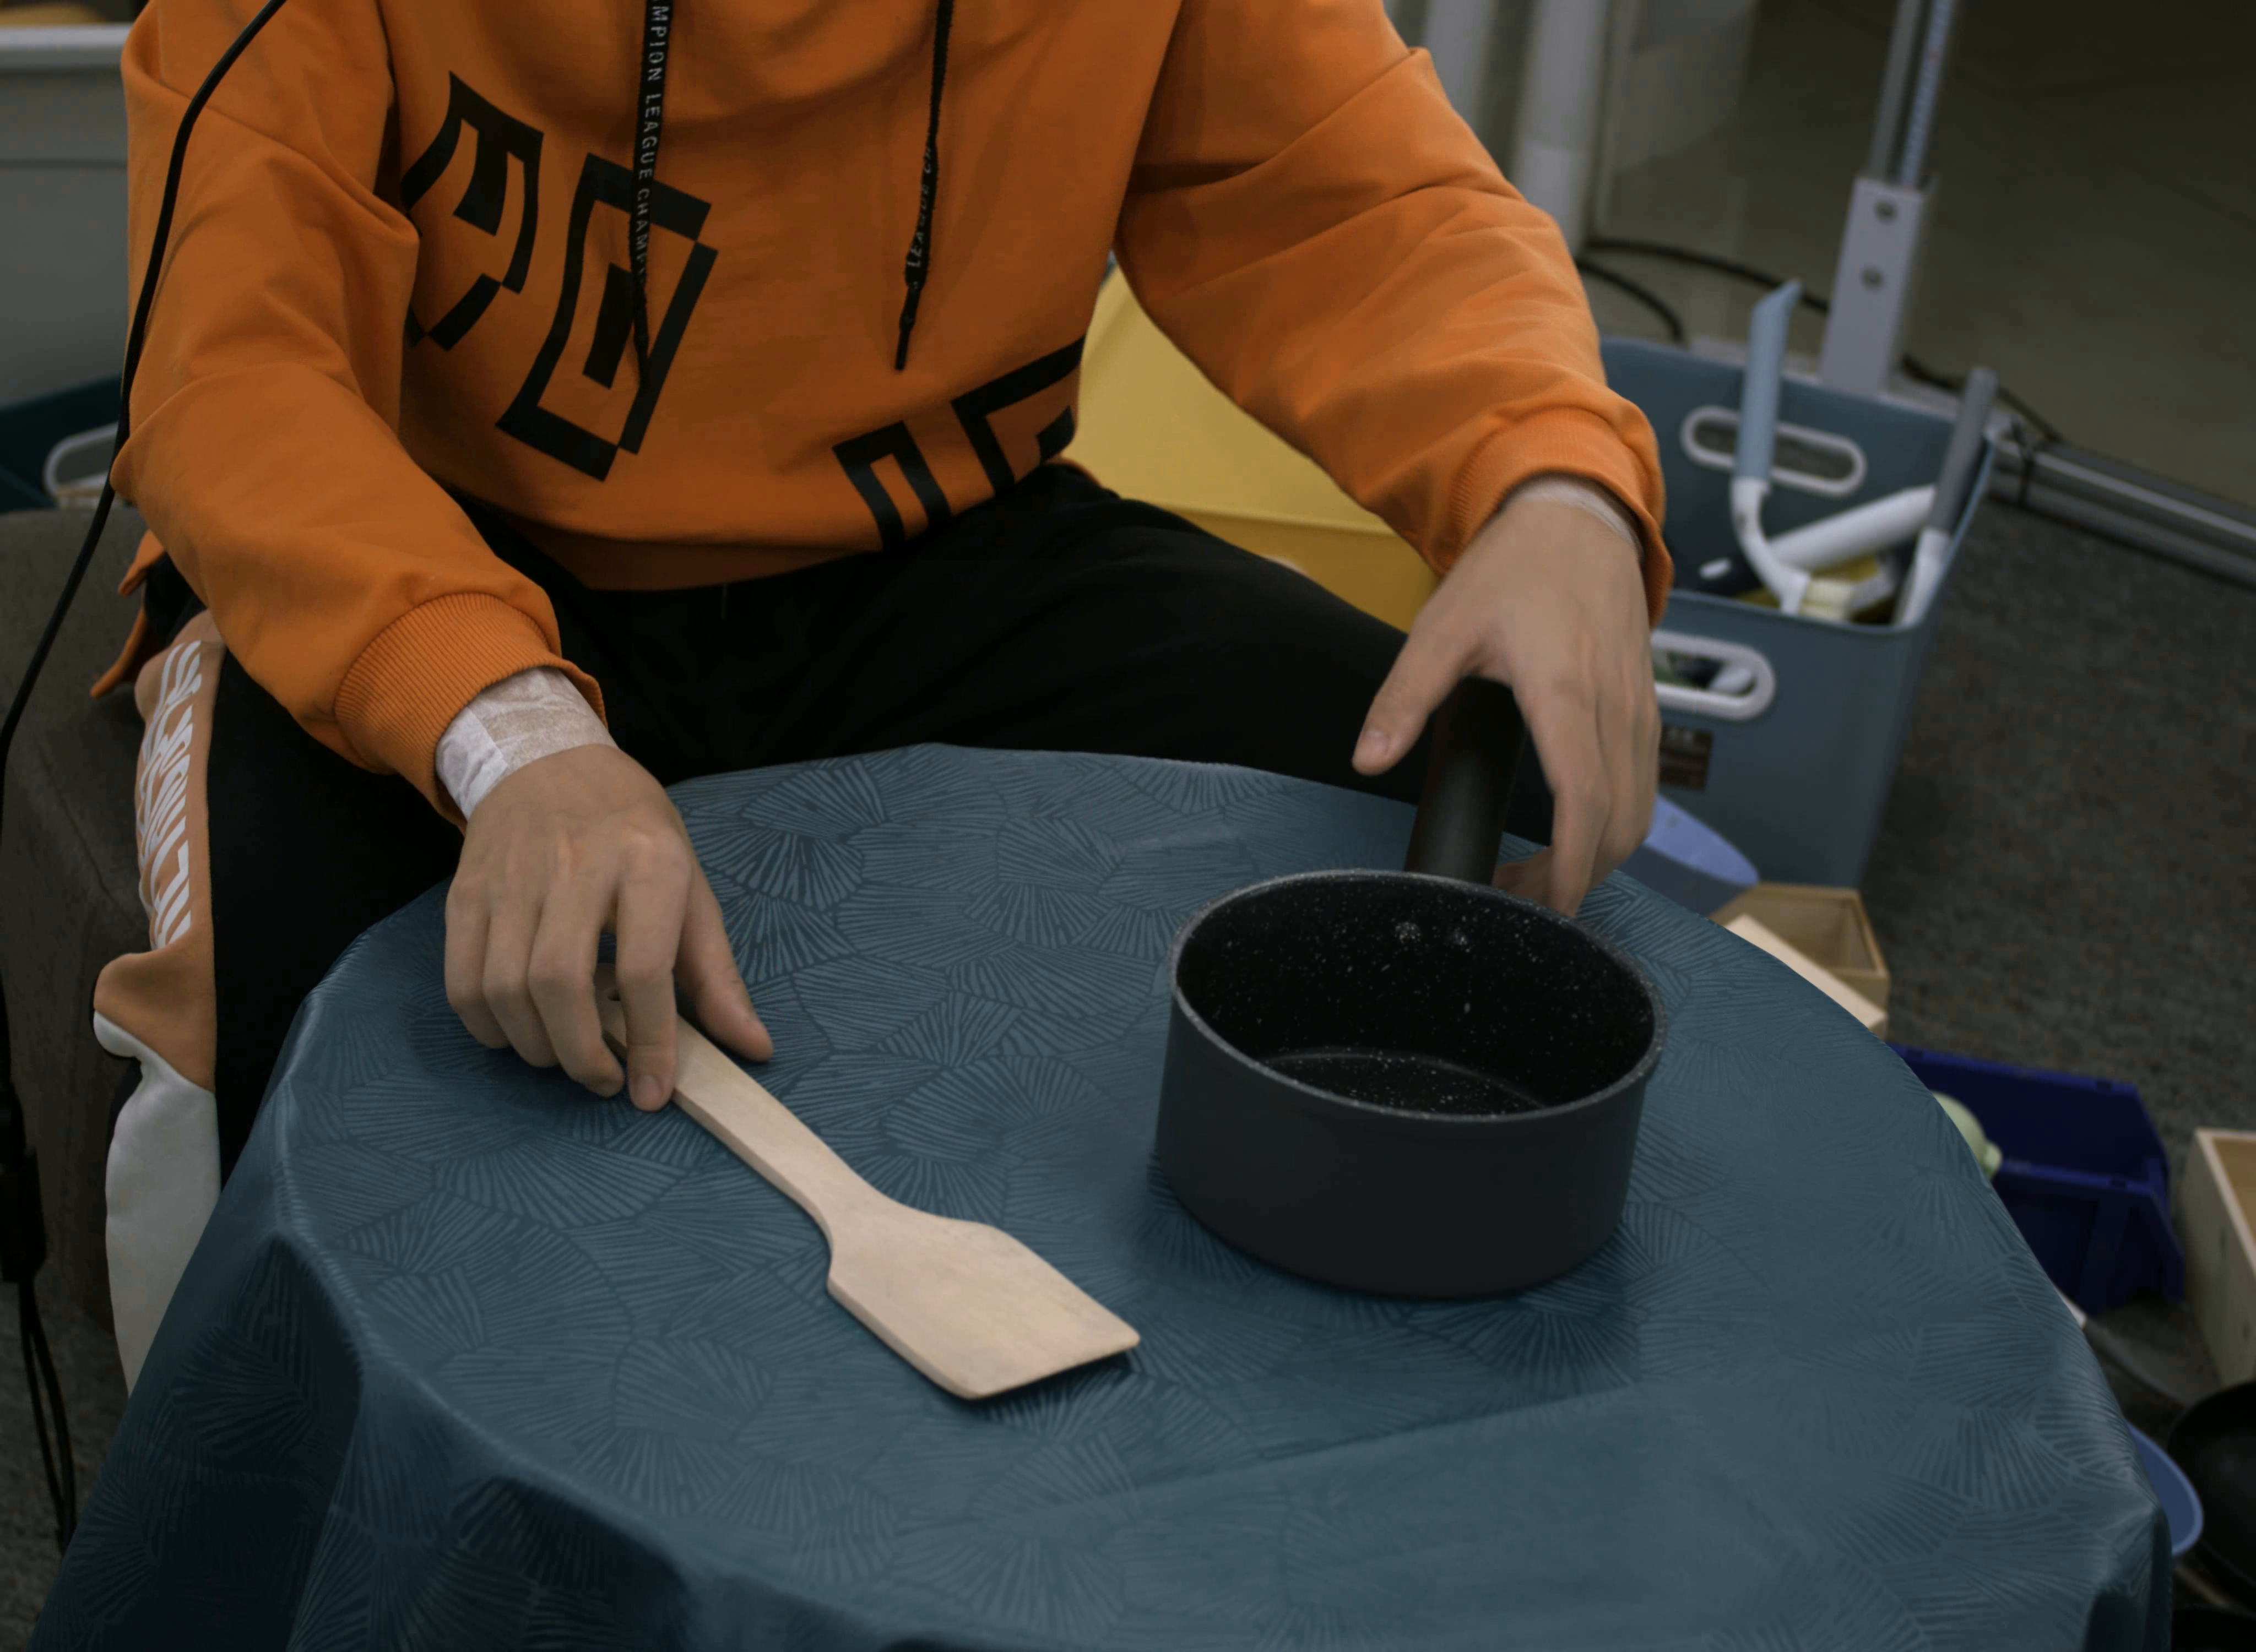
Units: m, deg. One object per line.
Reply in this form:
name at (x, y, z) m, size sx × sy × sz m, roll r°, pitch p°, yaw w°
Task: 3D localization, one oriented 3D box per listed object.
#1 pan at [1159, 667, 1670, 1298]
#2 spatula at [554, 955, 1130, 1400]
pan at (0.110, 0.050, 1.878) m, size 0.172 × 0.086 × 0.330 m, roll 12°, pitch 29°, yaw 8°
spatula at (-0.111, 0.113, 1.788) m, size 0.072 × 0.010 × 0.295 m, roll -17°, pitch 35°, yaw -32°
